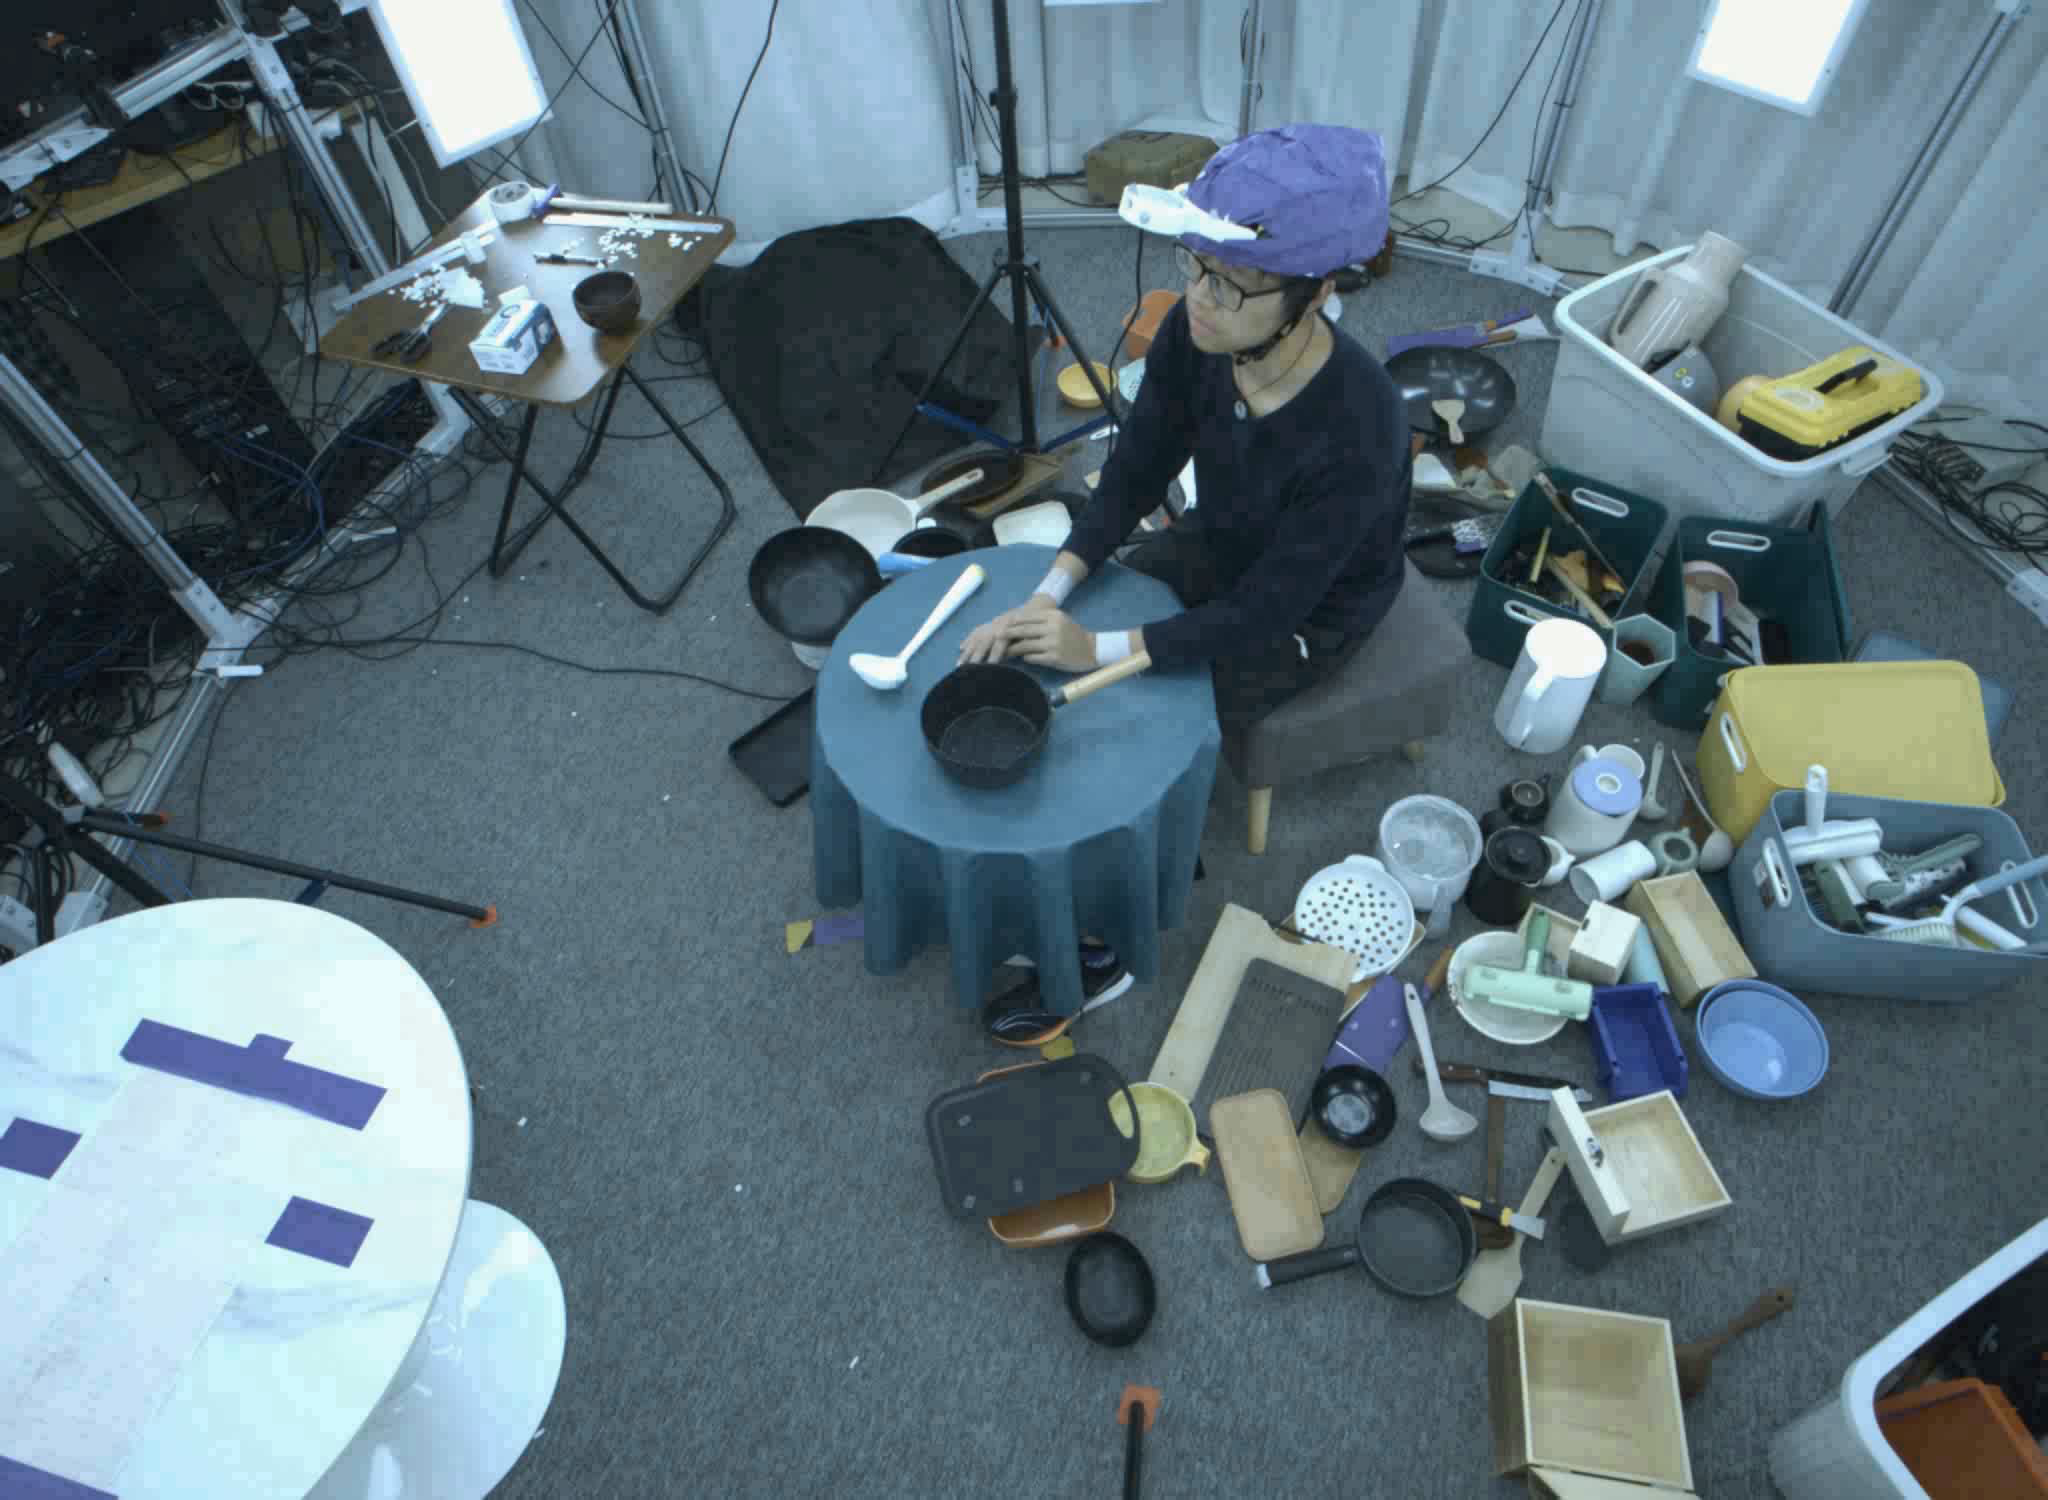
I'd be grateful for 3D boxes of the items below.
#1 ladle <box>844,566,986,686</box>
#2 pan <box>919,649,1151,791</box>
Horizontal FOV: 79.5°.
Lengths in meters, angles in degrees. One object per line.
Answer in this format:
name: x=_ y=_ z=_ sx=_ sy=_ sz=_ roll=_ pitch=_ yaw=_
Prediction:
ladle: x=-0.161 y=-0.201 z=1.895 sx=0.088 sy=0.071 sz=0.294 roll=25 pitch=59 yaw=26
pan: x=0.021 y=-0.059 z=1.761 sx=0.345 sy=0.109 sz=0.204 roll=-19 pitch=55 yaw=-9
